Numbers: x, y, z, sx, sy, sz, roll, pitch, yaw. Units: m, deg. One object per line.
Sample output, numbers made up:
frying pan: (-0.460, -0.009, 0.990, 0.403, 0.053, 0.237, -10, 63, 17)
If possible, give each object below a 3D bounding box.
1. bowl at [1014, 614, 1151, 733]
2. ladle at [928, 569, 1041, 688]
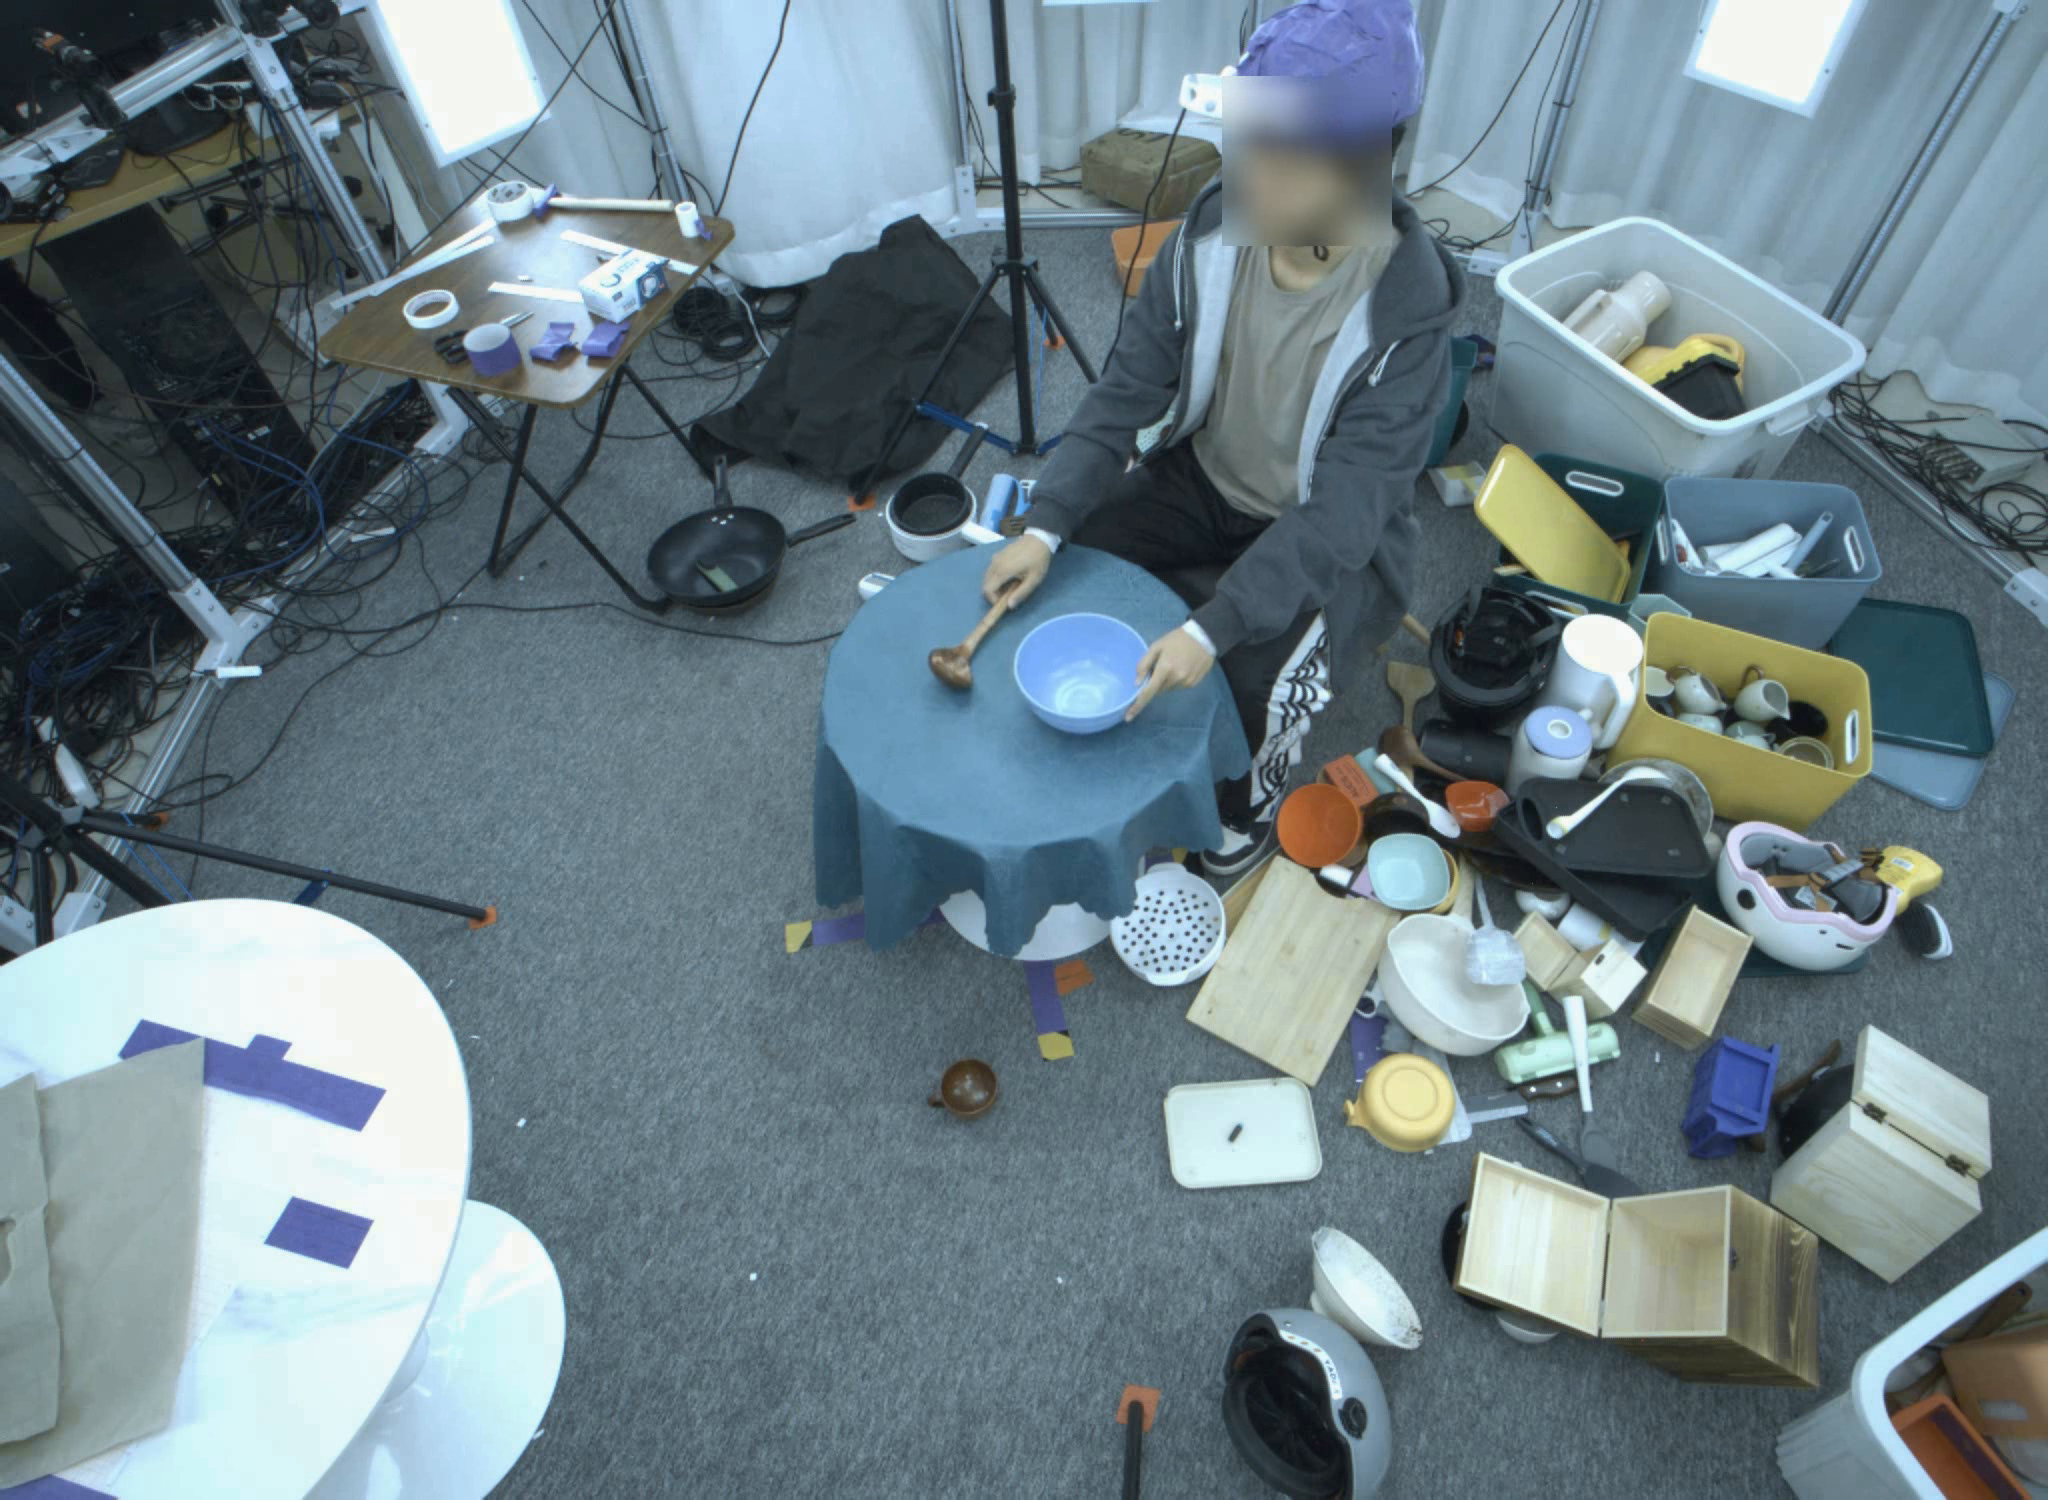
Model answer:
bowl: (0.086, -0.096, 1.798, 0.196, 0.096, 0.194, -1, 53, 2)
ladle: (-0.050, -0.199, 1.883, 0.082, 0.075, 0.275, 45, 64, -11)
